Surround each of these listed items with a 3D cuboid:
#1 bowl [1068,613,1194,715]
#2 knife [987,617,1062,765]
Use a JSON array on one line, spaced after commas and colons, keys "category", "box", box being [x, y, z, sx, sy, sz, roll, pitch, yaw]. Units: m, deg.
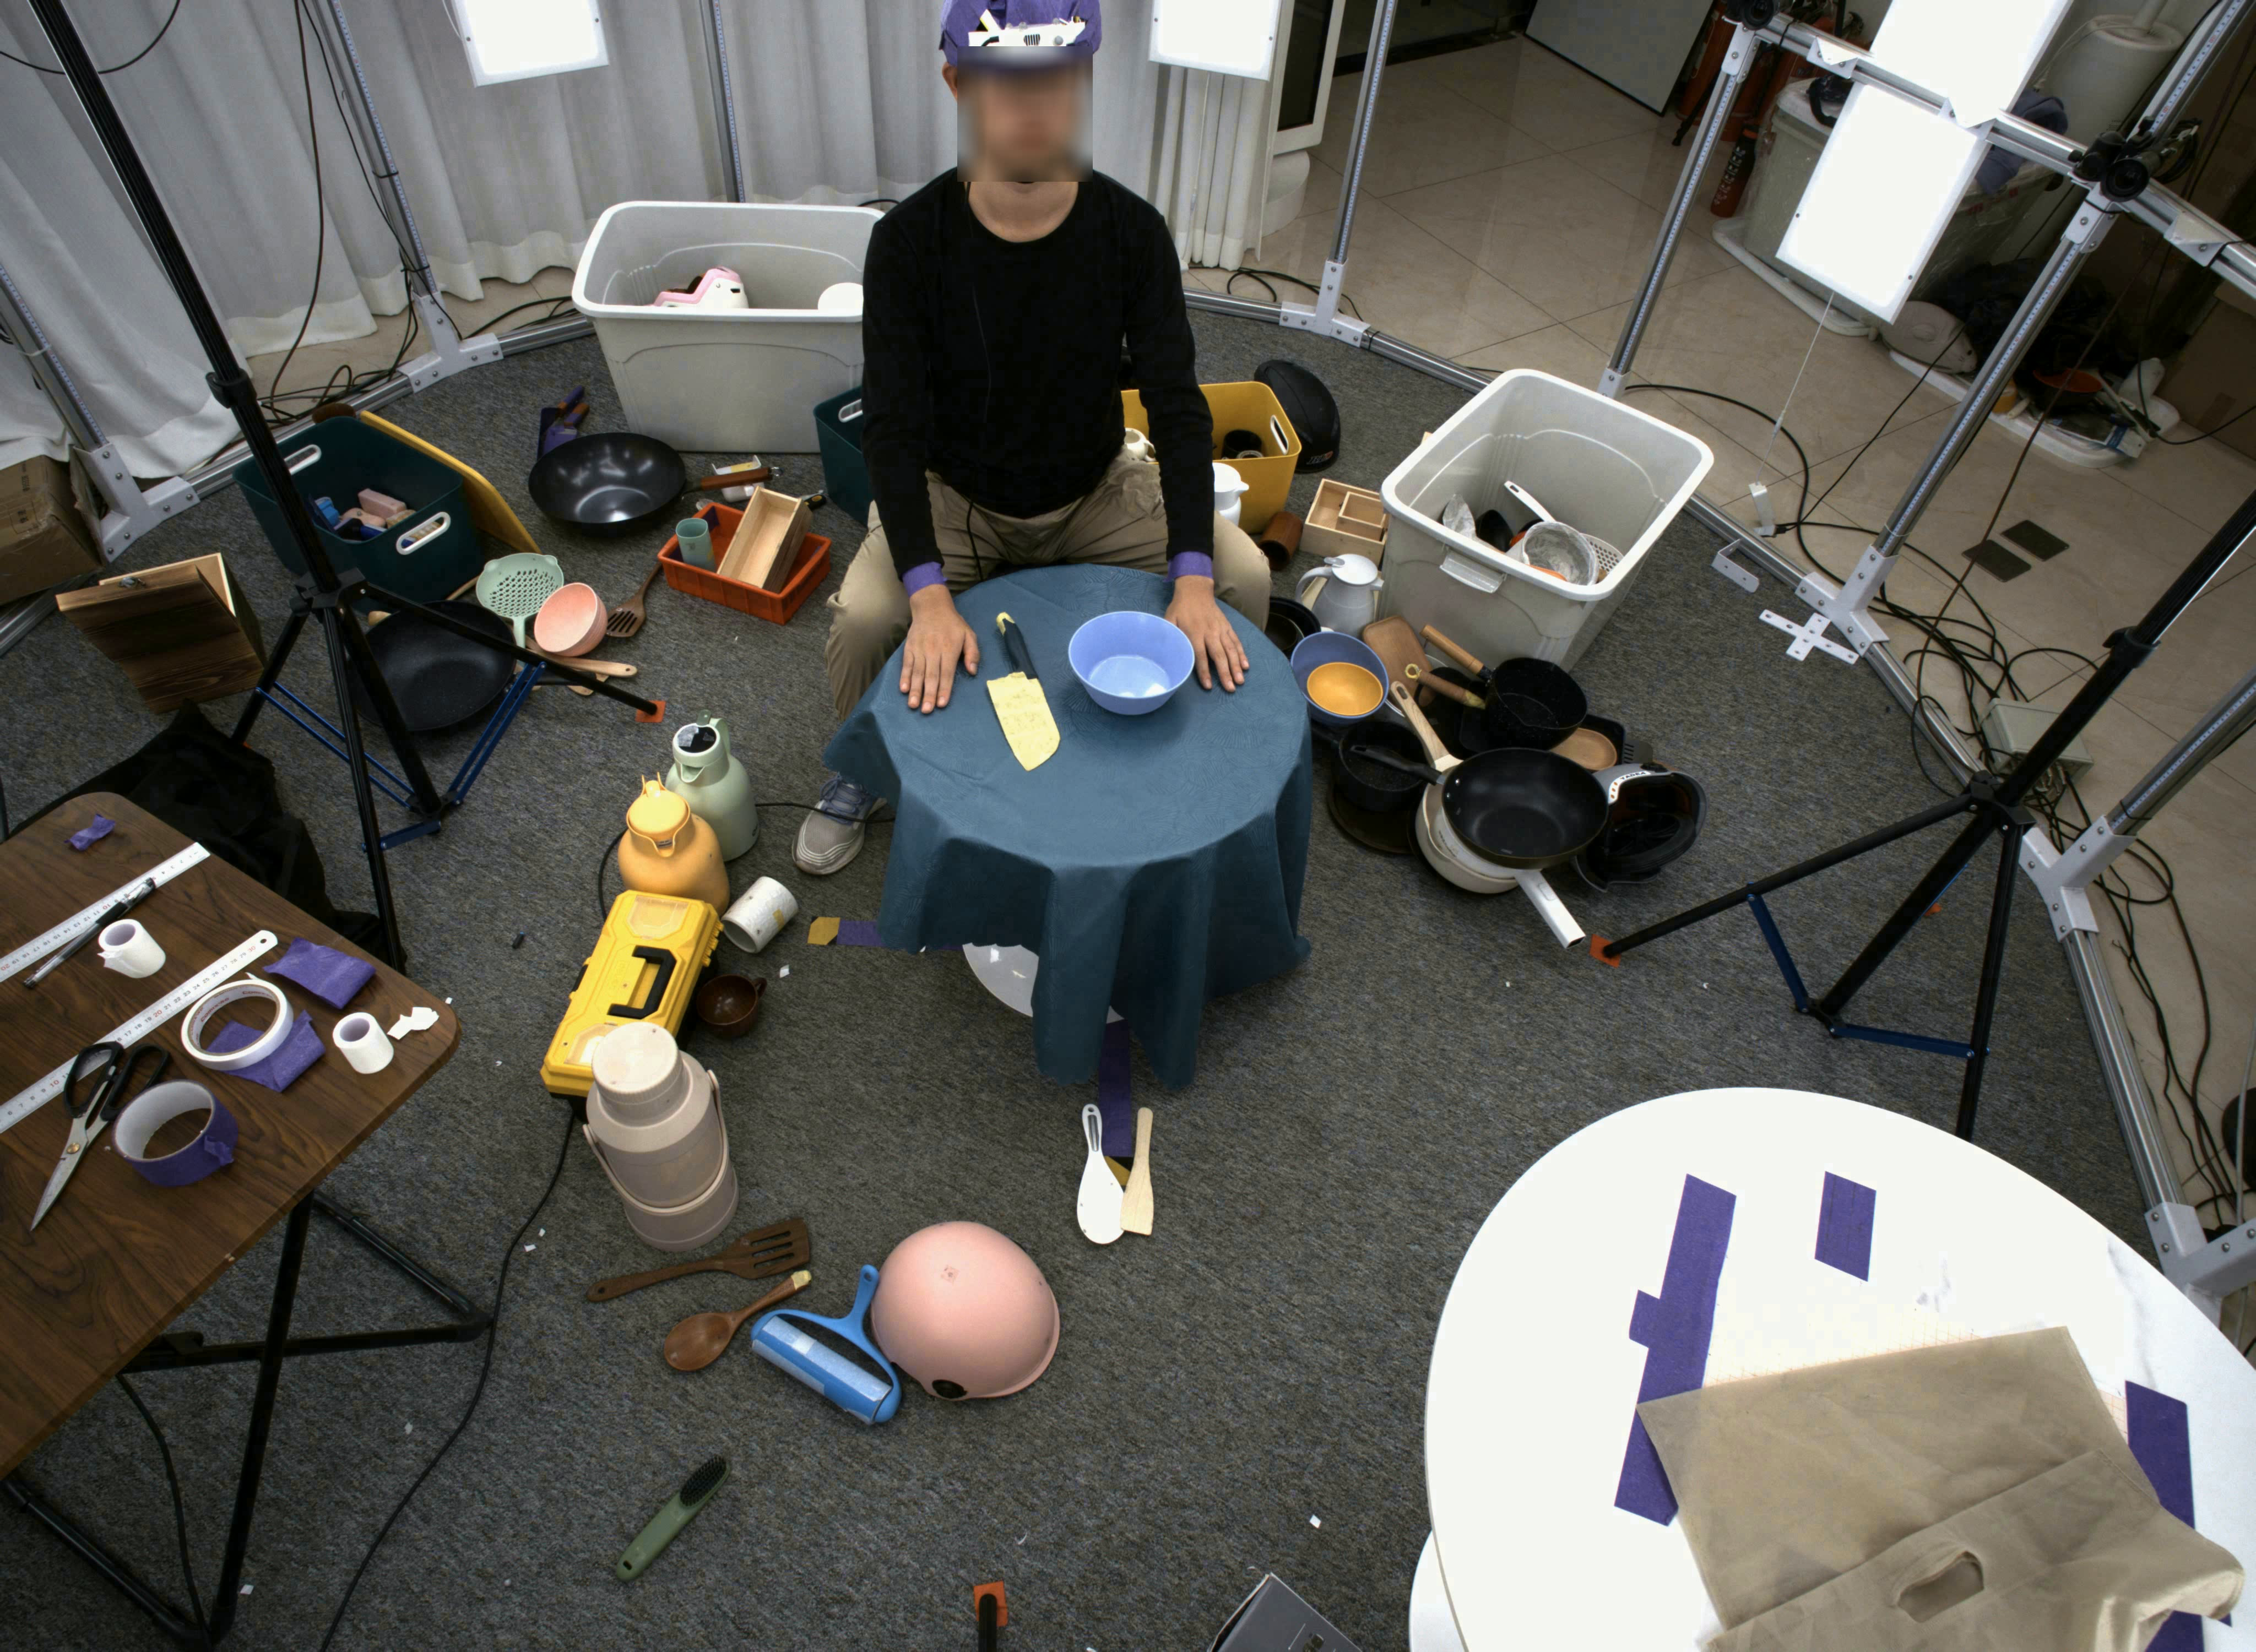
[{"category": "bowl", "box": [0.003, -0.220, 1.816, 0.176, 0.068, 0.180, 1, 49, -2]}, {"category": "knife", "box": [-0.156, -0.193, 1.818, 0.081, 0.026, 0.296, -9, 51, -13]}]
